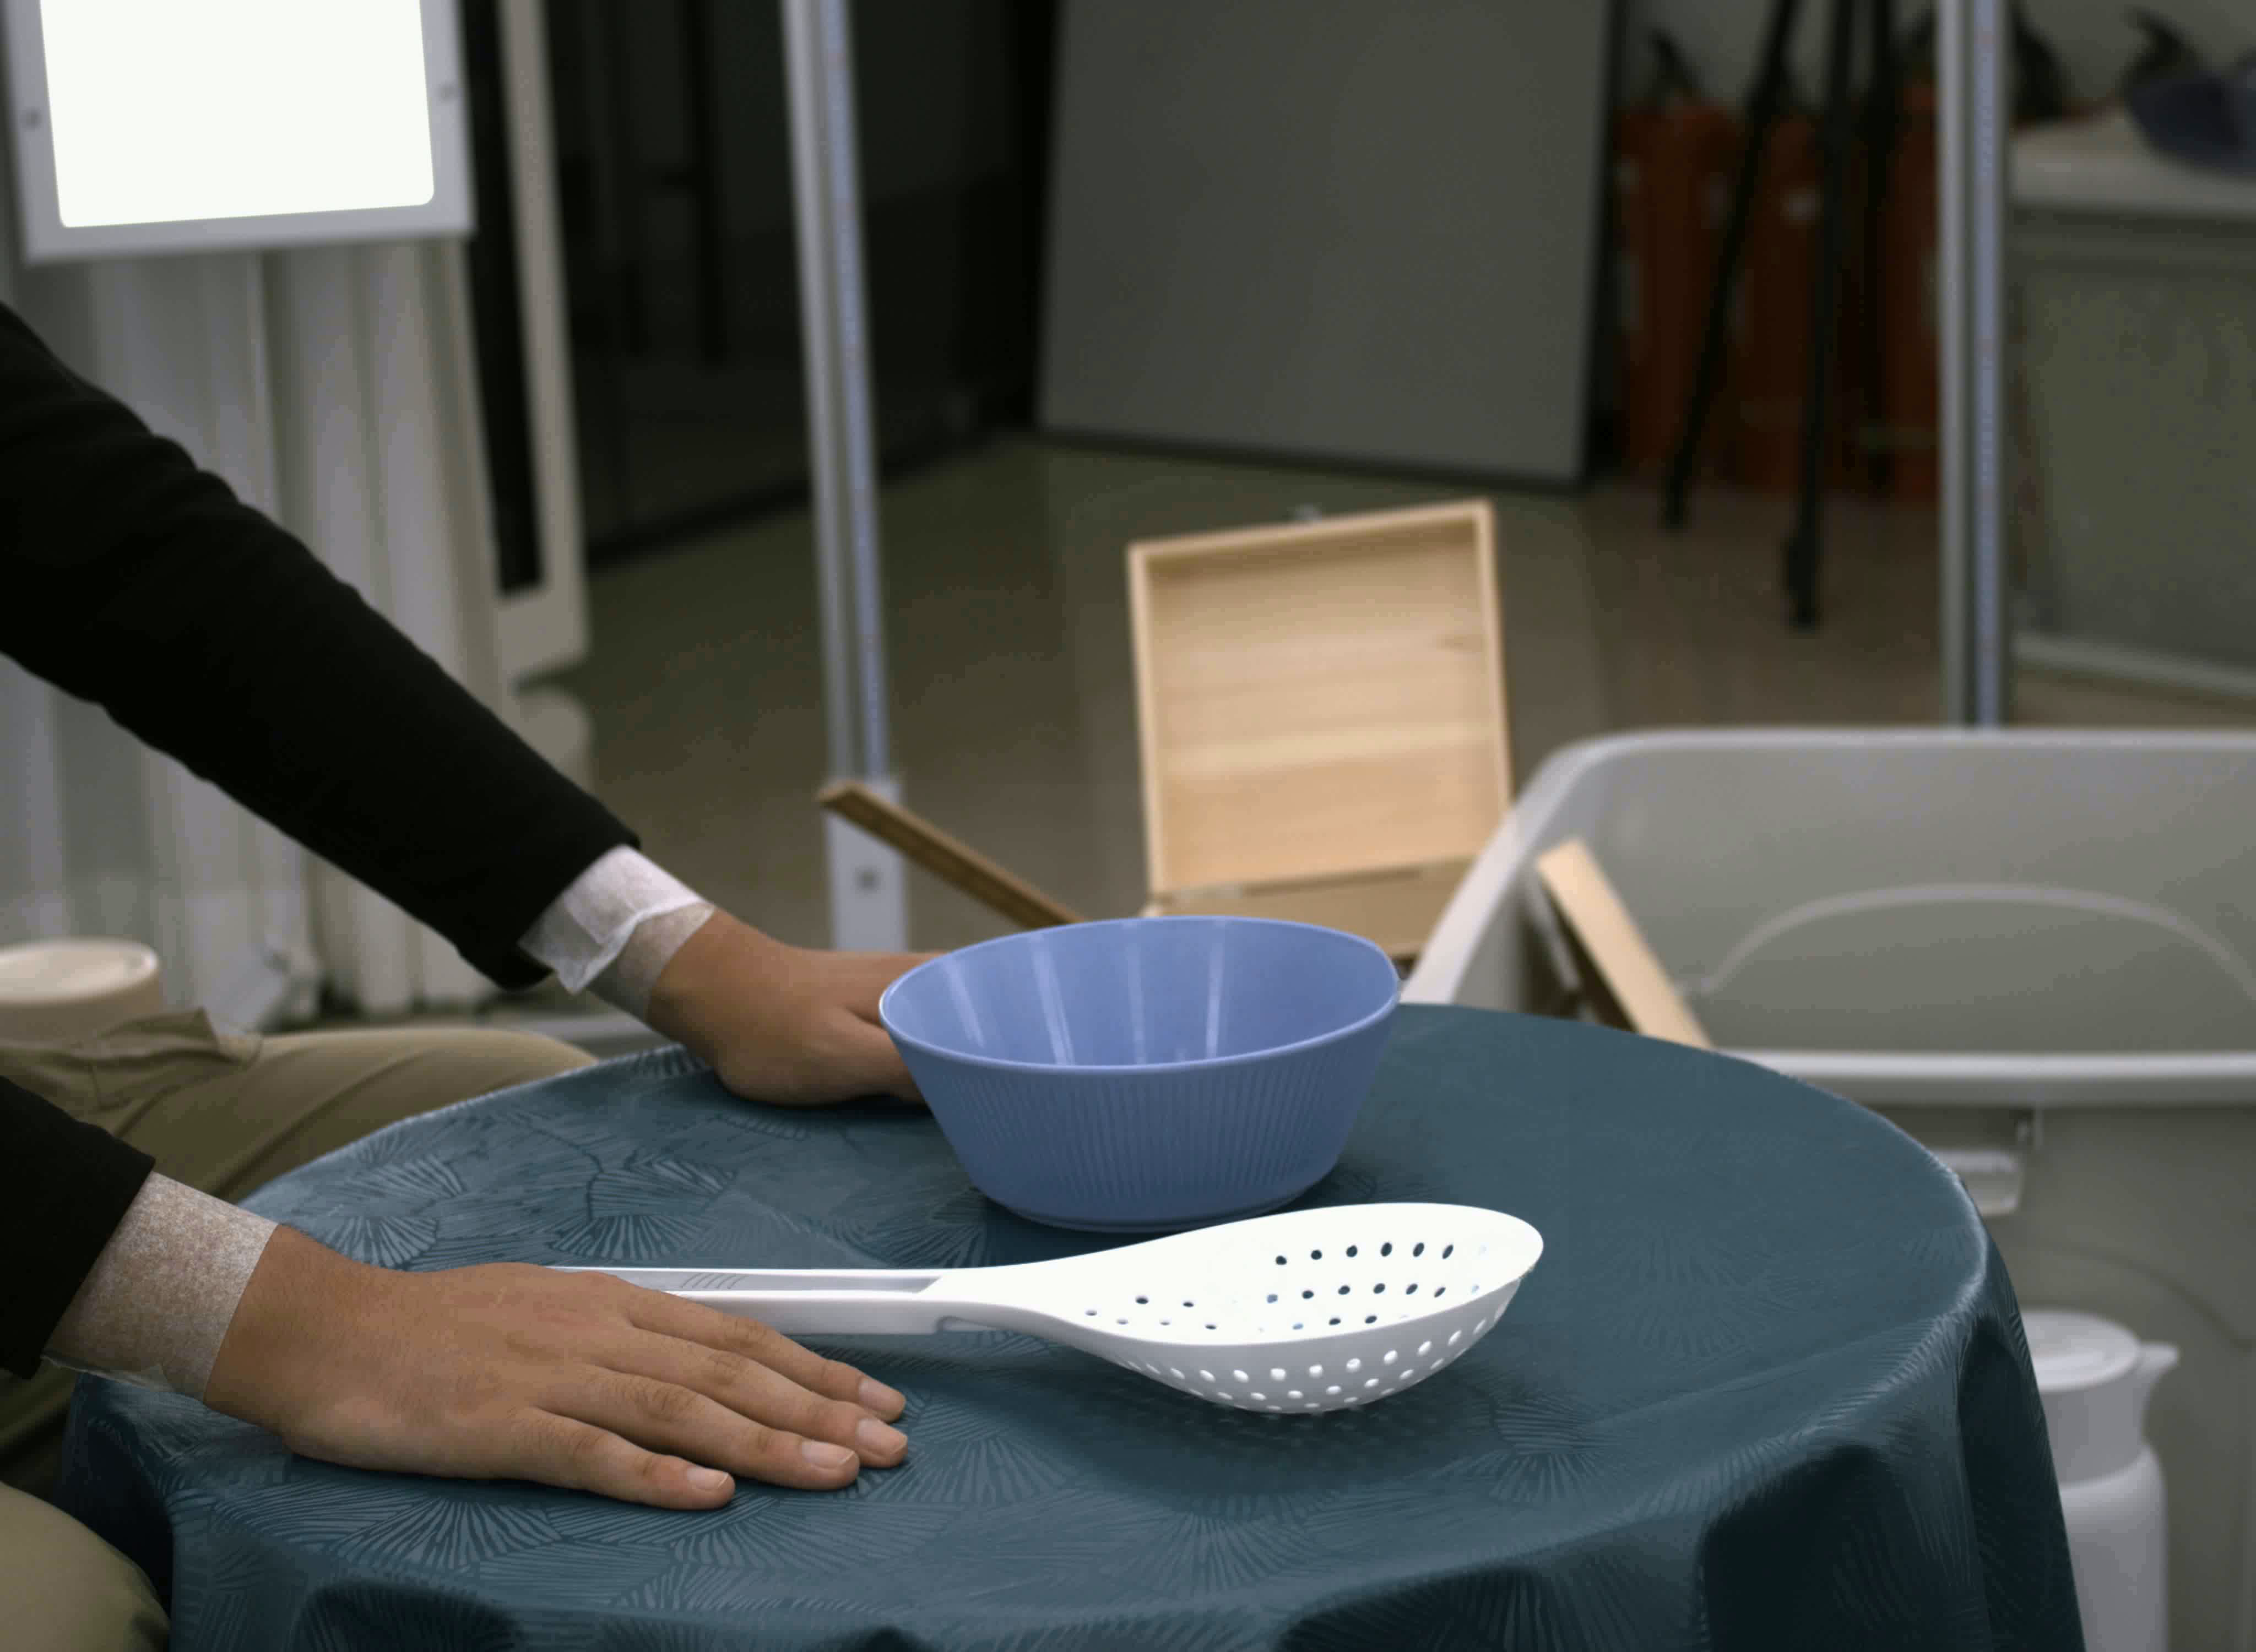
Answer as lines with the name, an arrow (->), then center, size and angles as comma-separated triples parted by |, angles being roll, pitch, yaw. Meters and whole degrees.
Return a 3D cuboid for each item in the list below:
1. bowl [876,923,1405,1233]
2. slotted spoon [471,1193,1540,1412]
bowl -> 0.006, 0.084, 1.770 | 0.174, 0.071, 0.176 | -5, 13, 0
slotted spoon -> -0.043, 0.141, 1.606 | 0.350, 0.046, 0.134 | 1, 14, 25
